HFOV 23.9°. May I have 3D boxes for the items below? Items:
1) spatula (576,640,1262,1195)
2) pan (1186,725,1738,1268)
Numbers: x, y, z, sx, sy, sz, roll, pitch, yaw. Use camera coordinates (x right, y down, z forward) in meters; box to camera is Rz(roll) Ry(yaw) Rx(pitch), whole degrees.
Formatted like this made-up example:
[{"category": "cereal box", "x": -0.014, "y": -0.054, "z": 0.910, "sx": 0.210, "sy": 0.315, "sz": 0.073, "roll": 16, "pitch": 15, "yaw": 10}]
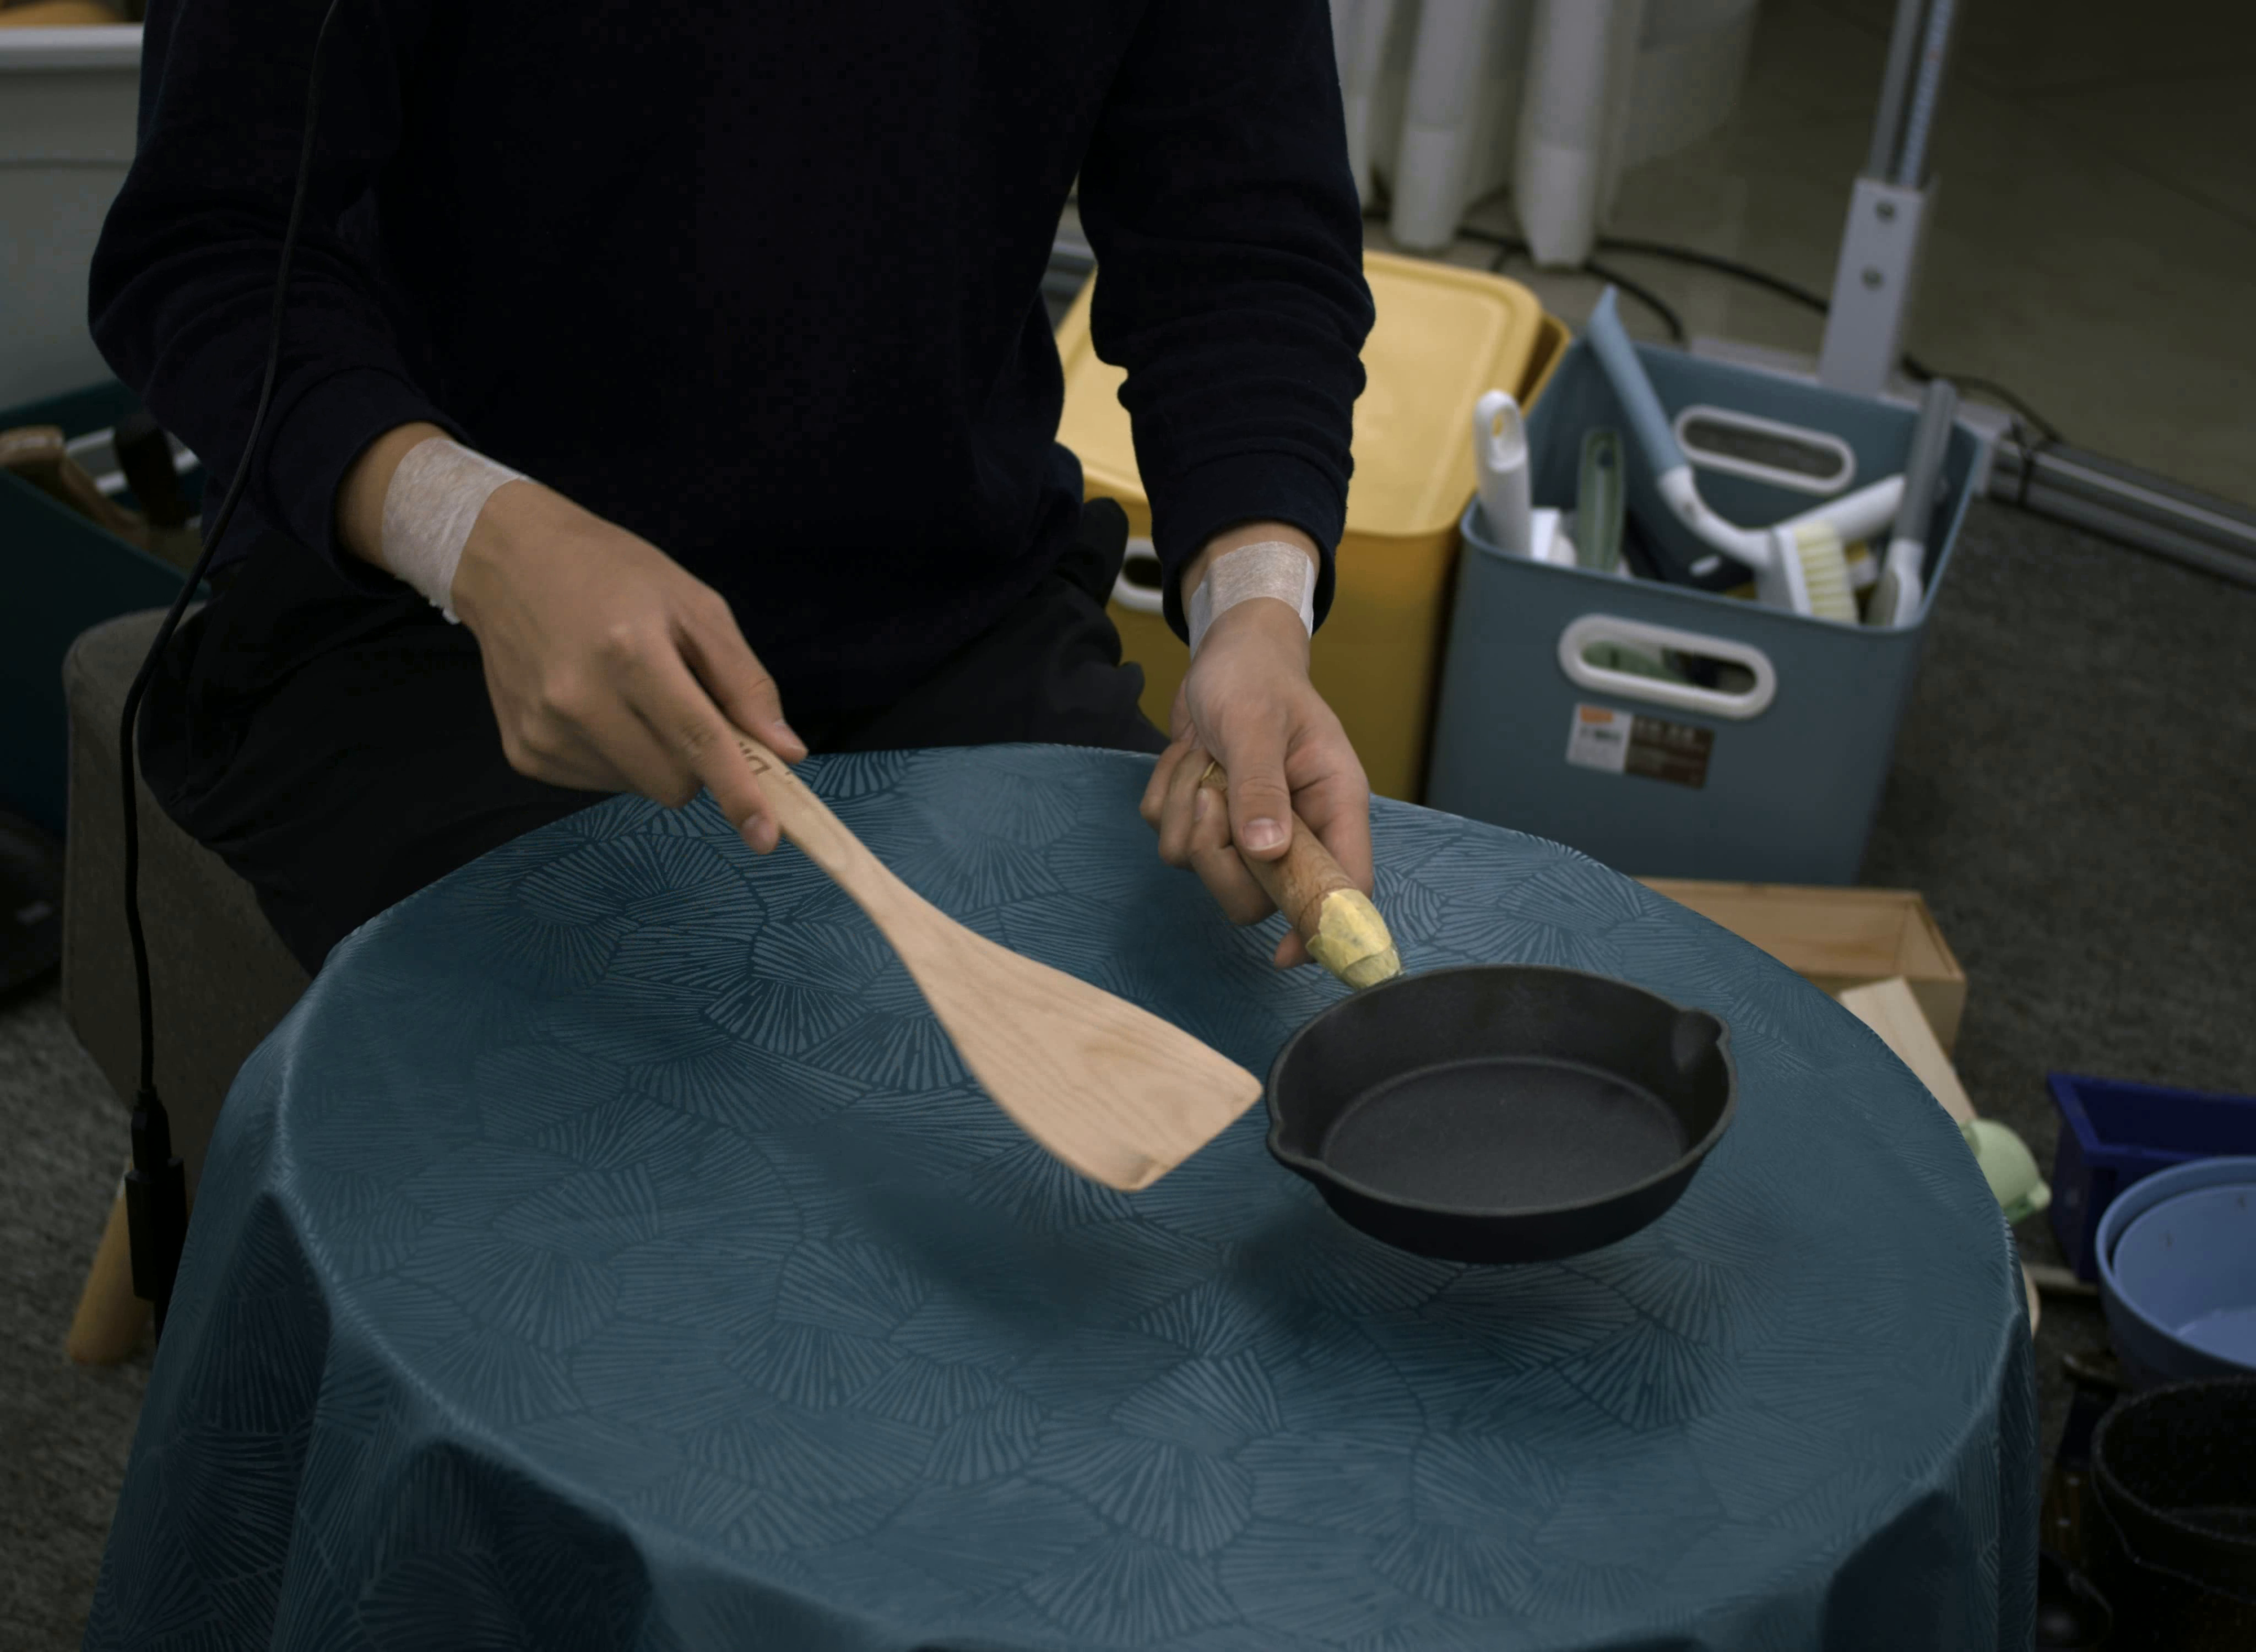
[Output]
[{"category": "spatula", "x": -0.082, "y": 0.022, "z": 1.796, "sx": 0.079, "sy": 0.016, "sz": 0.330, "roll": -26, "pitch": 50, "yaw": -33}, {"category": "pan", "x": 0.092, "y": 0.055, "z": 1.837, "sx": 0.168, "sy": 0.049, "sz": 0.327, "roll": -13, "pitch": 32, "yaw": -17}]
